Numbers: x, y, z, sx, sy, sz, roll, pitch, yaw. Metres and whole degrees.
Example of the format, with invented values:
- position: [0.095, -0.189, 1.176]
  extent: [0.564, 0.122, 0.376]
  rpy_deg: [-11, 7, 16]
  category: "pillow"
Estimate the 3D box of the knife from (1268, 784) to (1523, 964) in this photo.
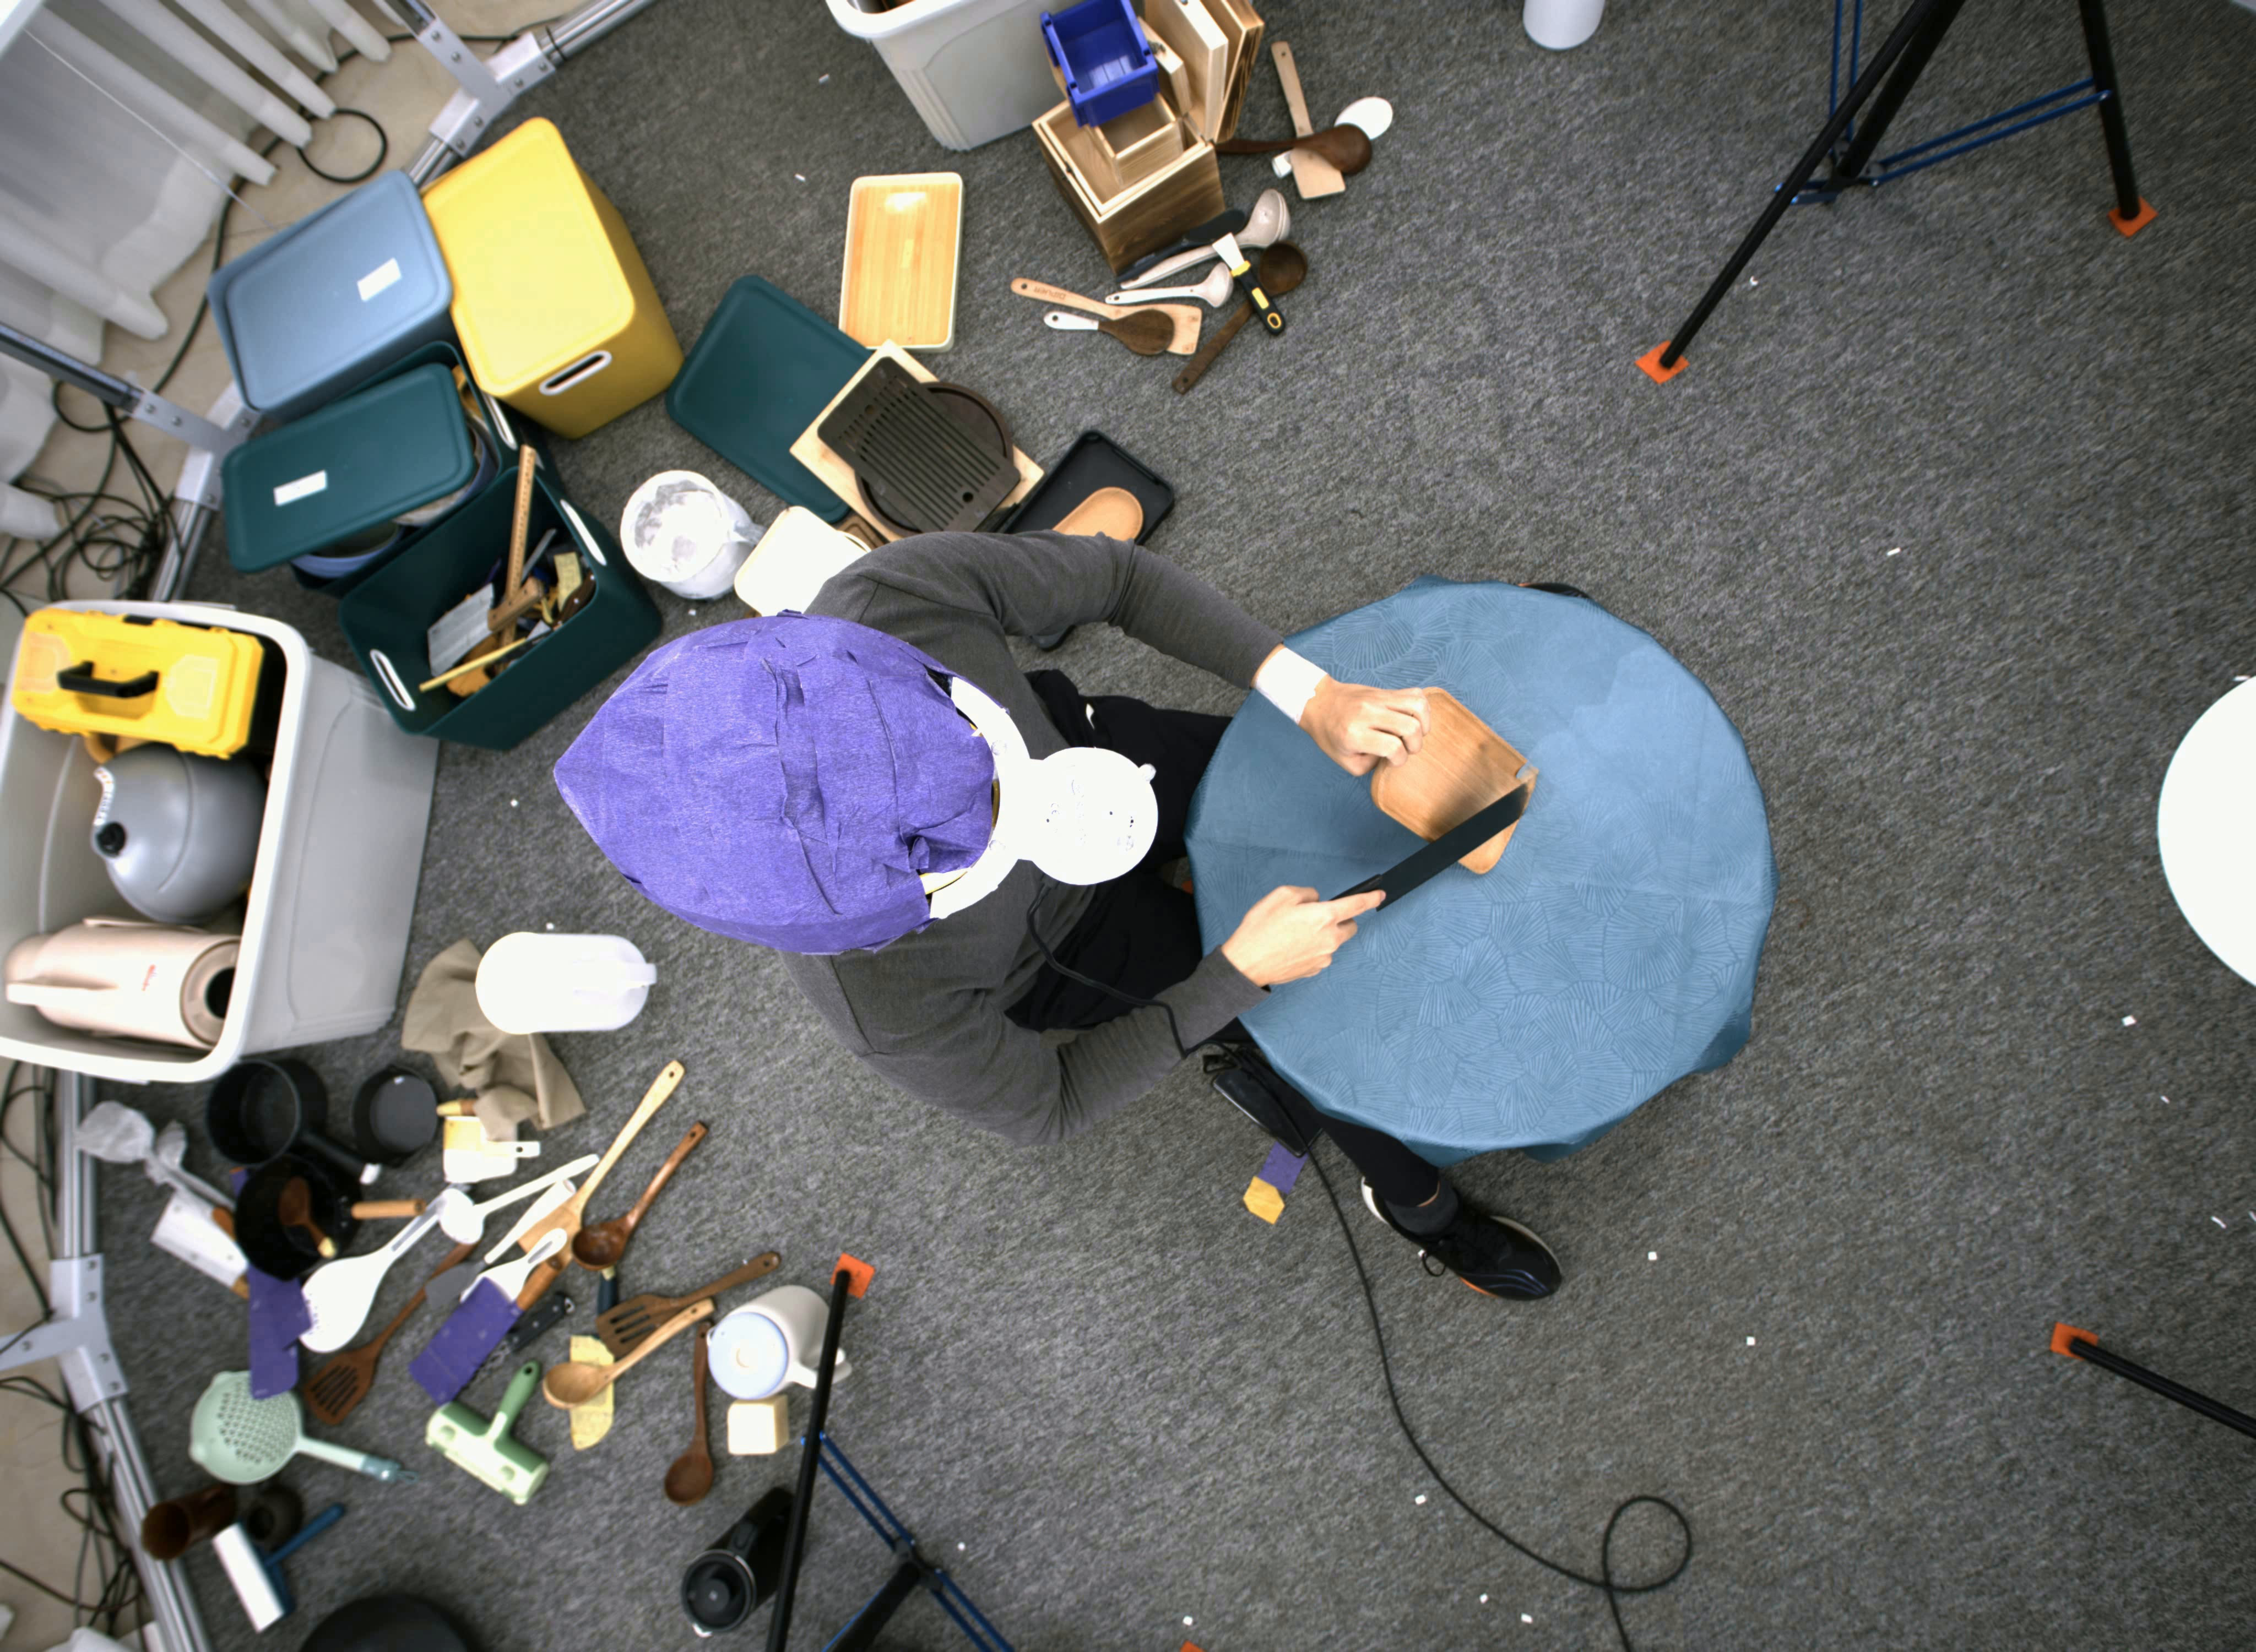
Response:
- position: [0.266, 0.049, 1.352]
  extent: [0.301, 0.082, 0.020]
  rpy_deg: [-30, 55, -7]
  category: "knife"

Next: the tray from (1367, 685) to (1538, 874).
- position: [0.322, -0.043, 1.348]
  extent: [0.023, 0.252, 0.130]
  rpy_deg: [29, 91, 46]
  category: "tray"
